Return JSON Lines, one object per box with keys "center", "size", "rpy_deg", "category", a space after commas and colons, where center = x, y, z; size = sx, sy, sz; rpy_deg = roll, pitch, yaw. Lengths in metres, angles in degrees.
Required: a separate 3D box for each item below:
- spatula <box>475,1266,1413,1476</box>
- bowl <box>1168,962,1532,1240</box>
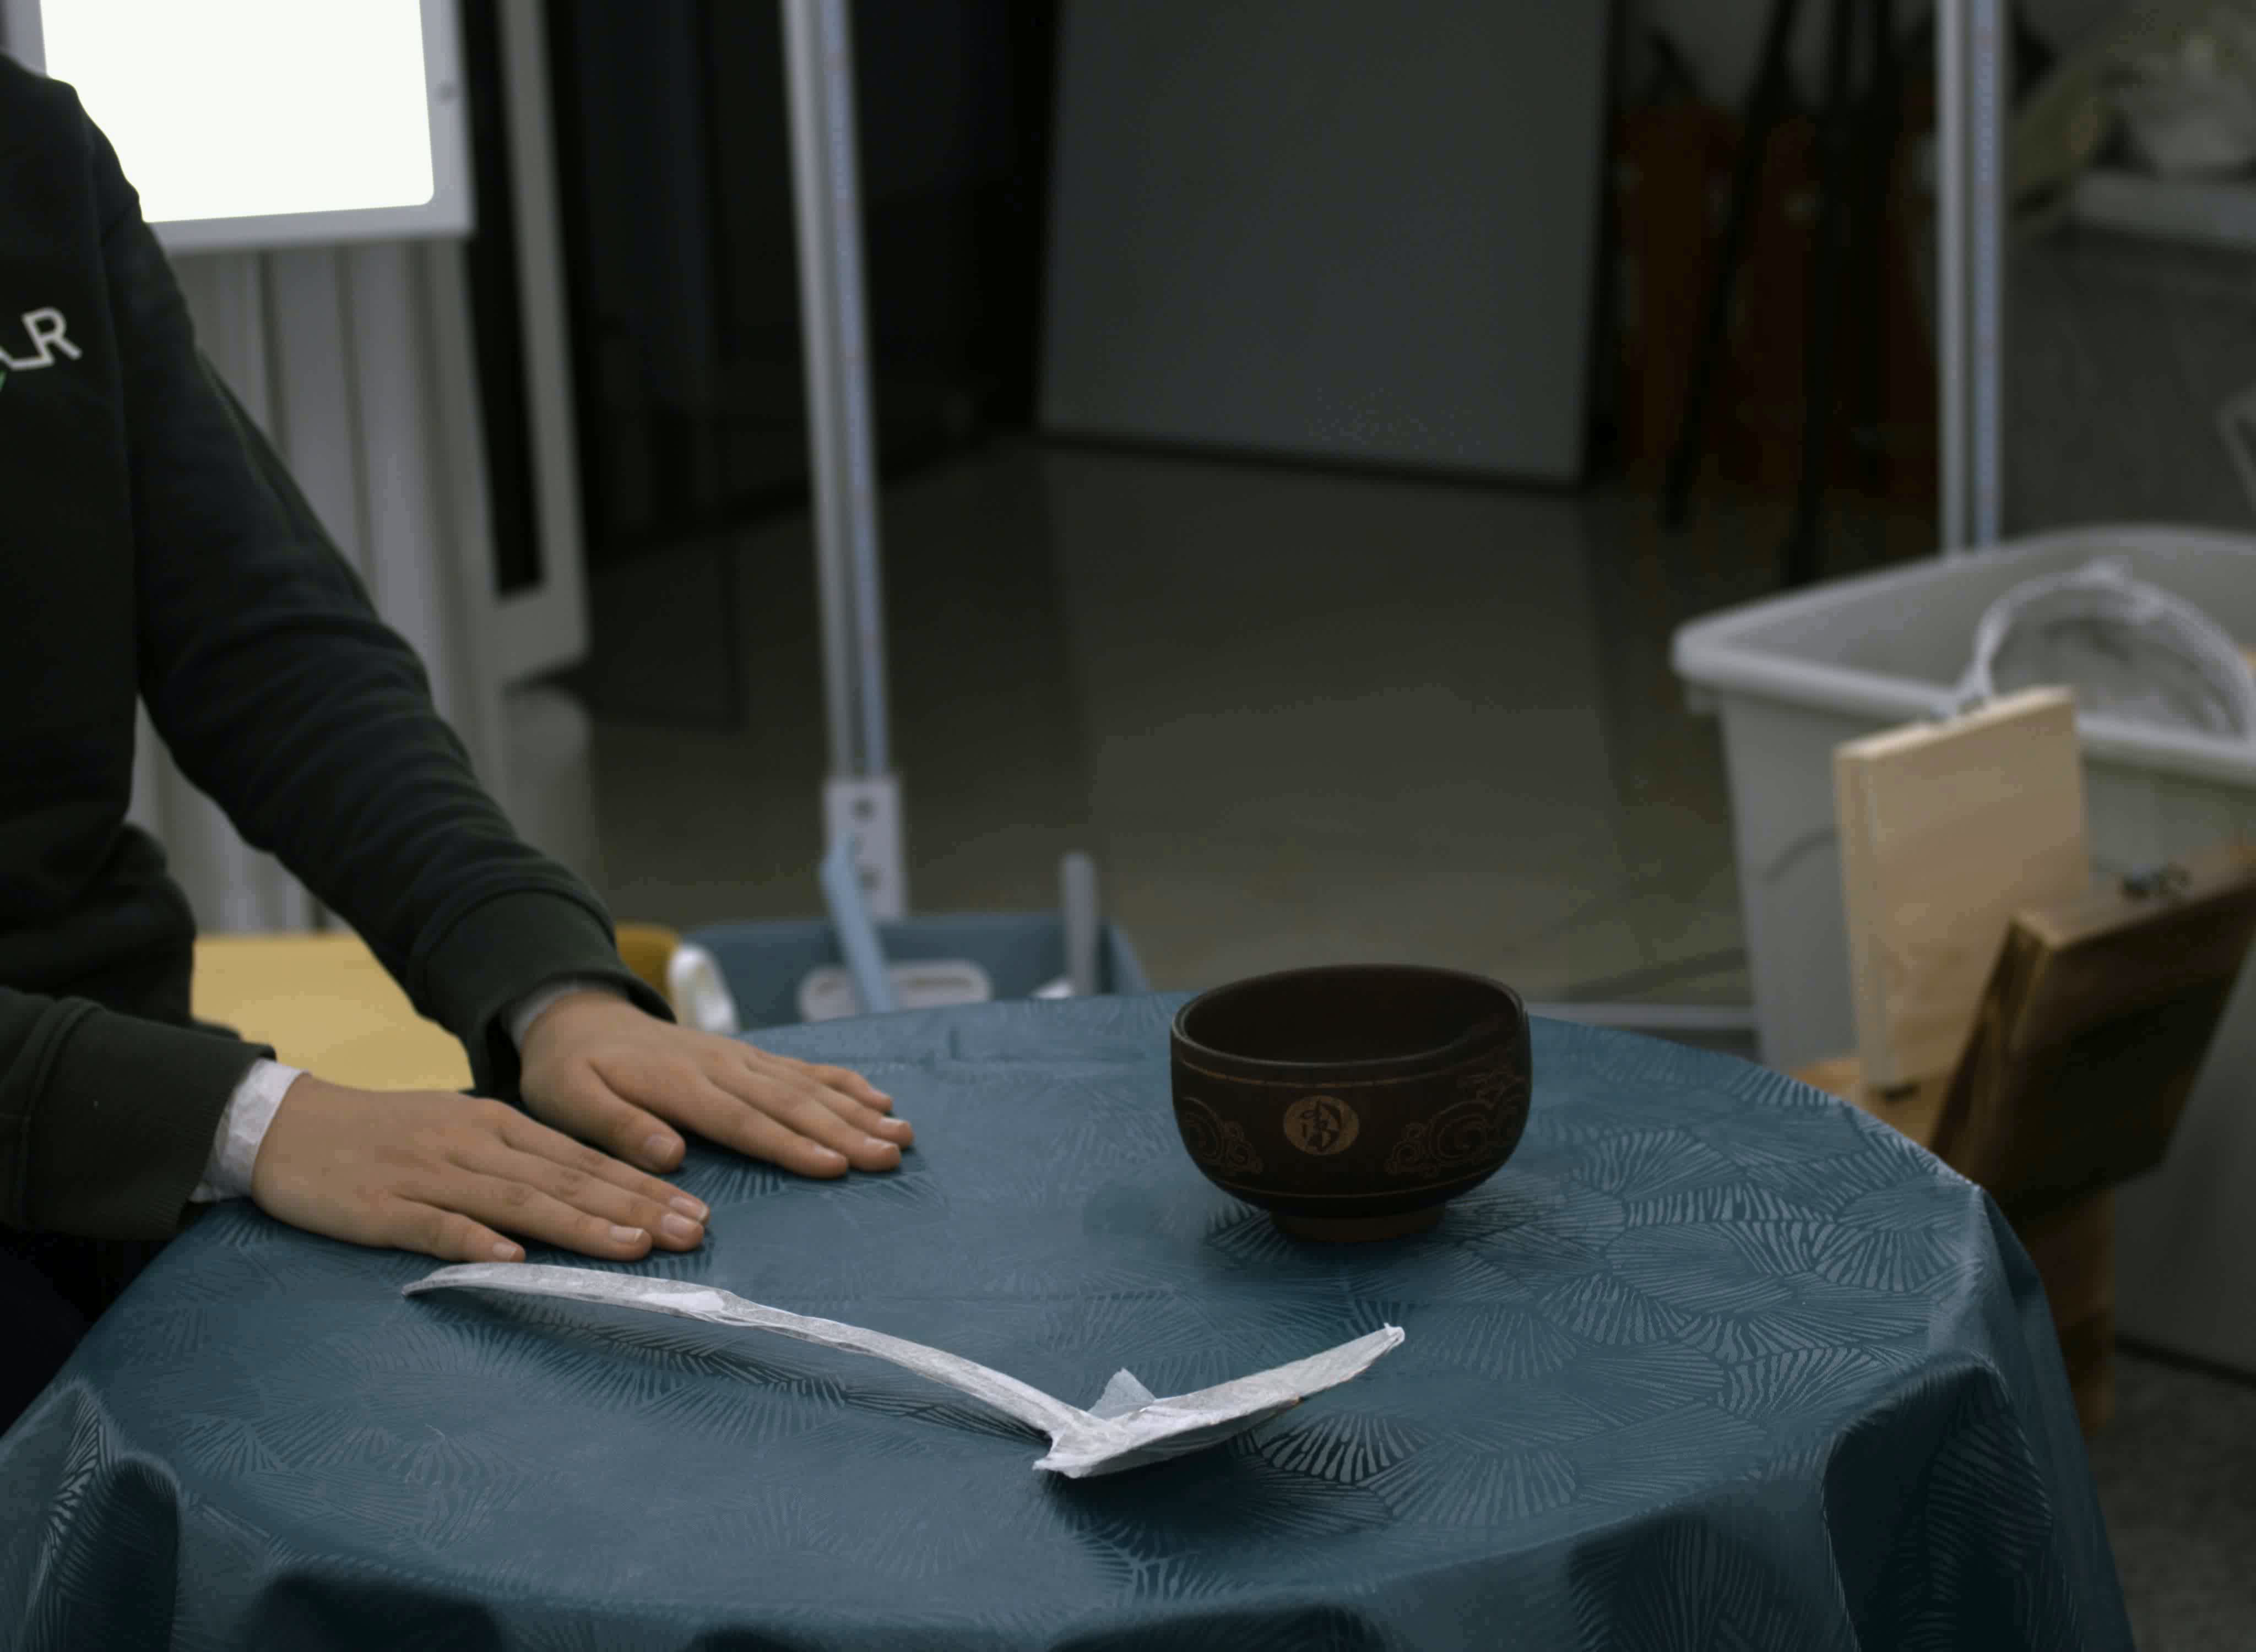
{"center": [-0.076, 0.149, 1.599], "size": [0.368, 0.045, 0.097], "rpy_deg": [8, 20, 40], "category": "spatula"}
{"center": [0.072, 0.091, 1.722], "size": [0.116, 0.070, 0.118], "rpy_deg": [-4, 12, 0], "category": "bowl"}
